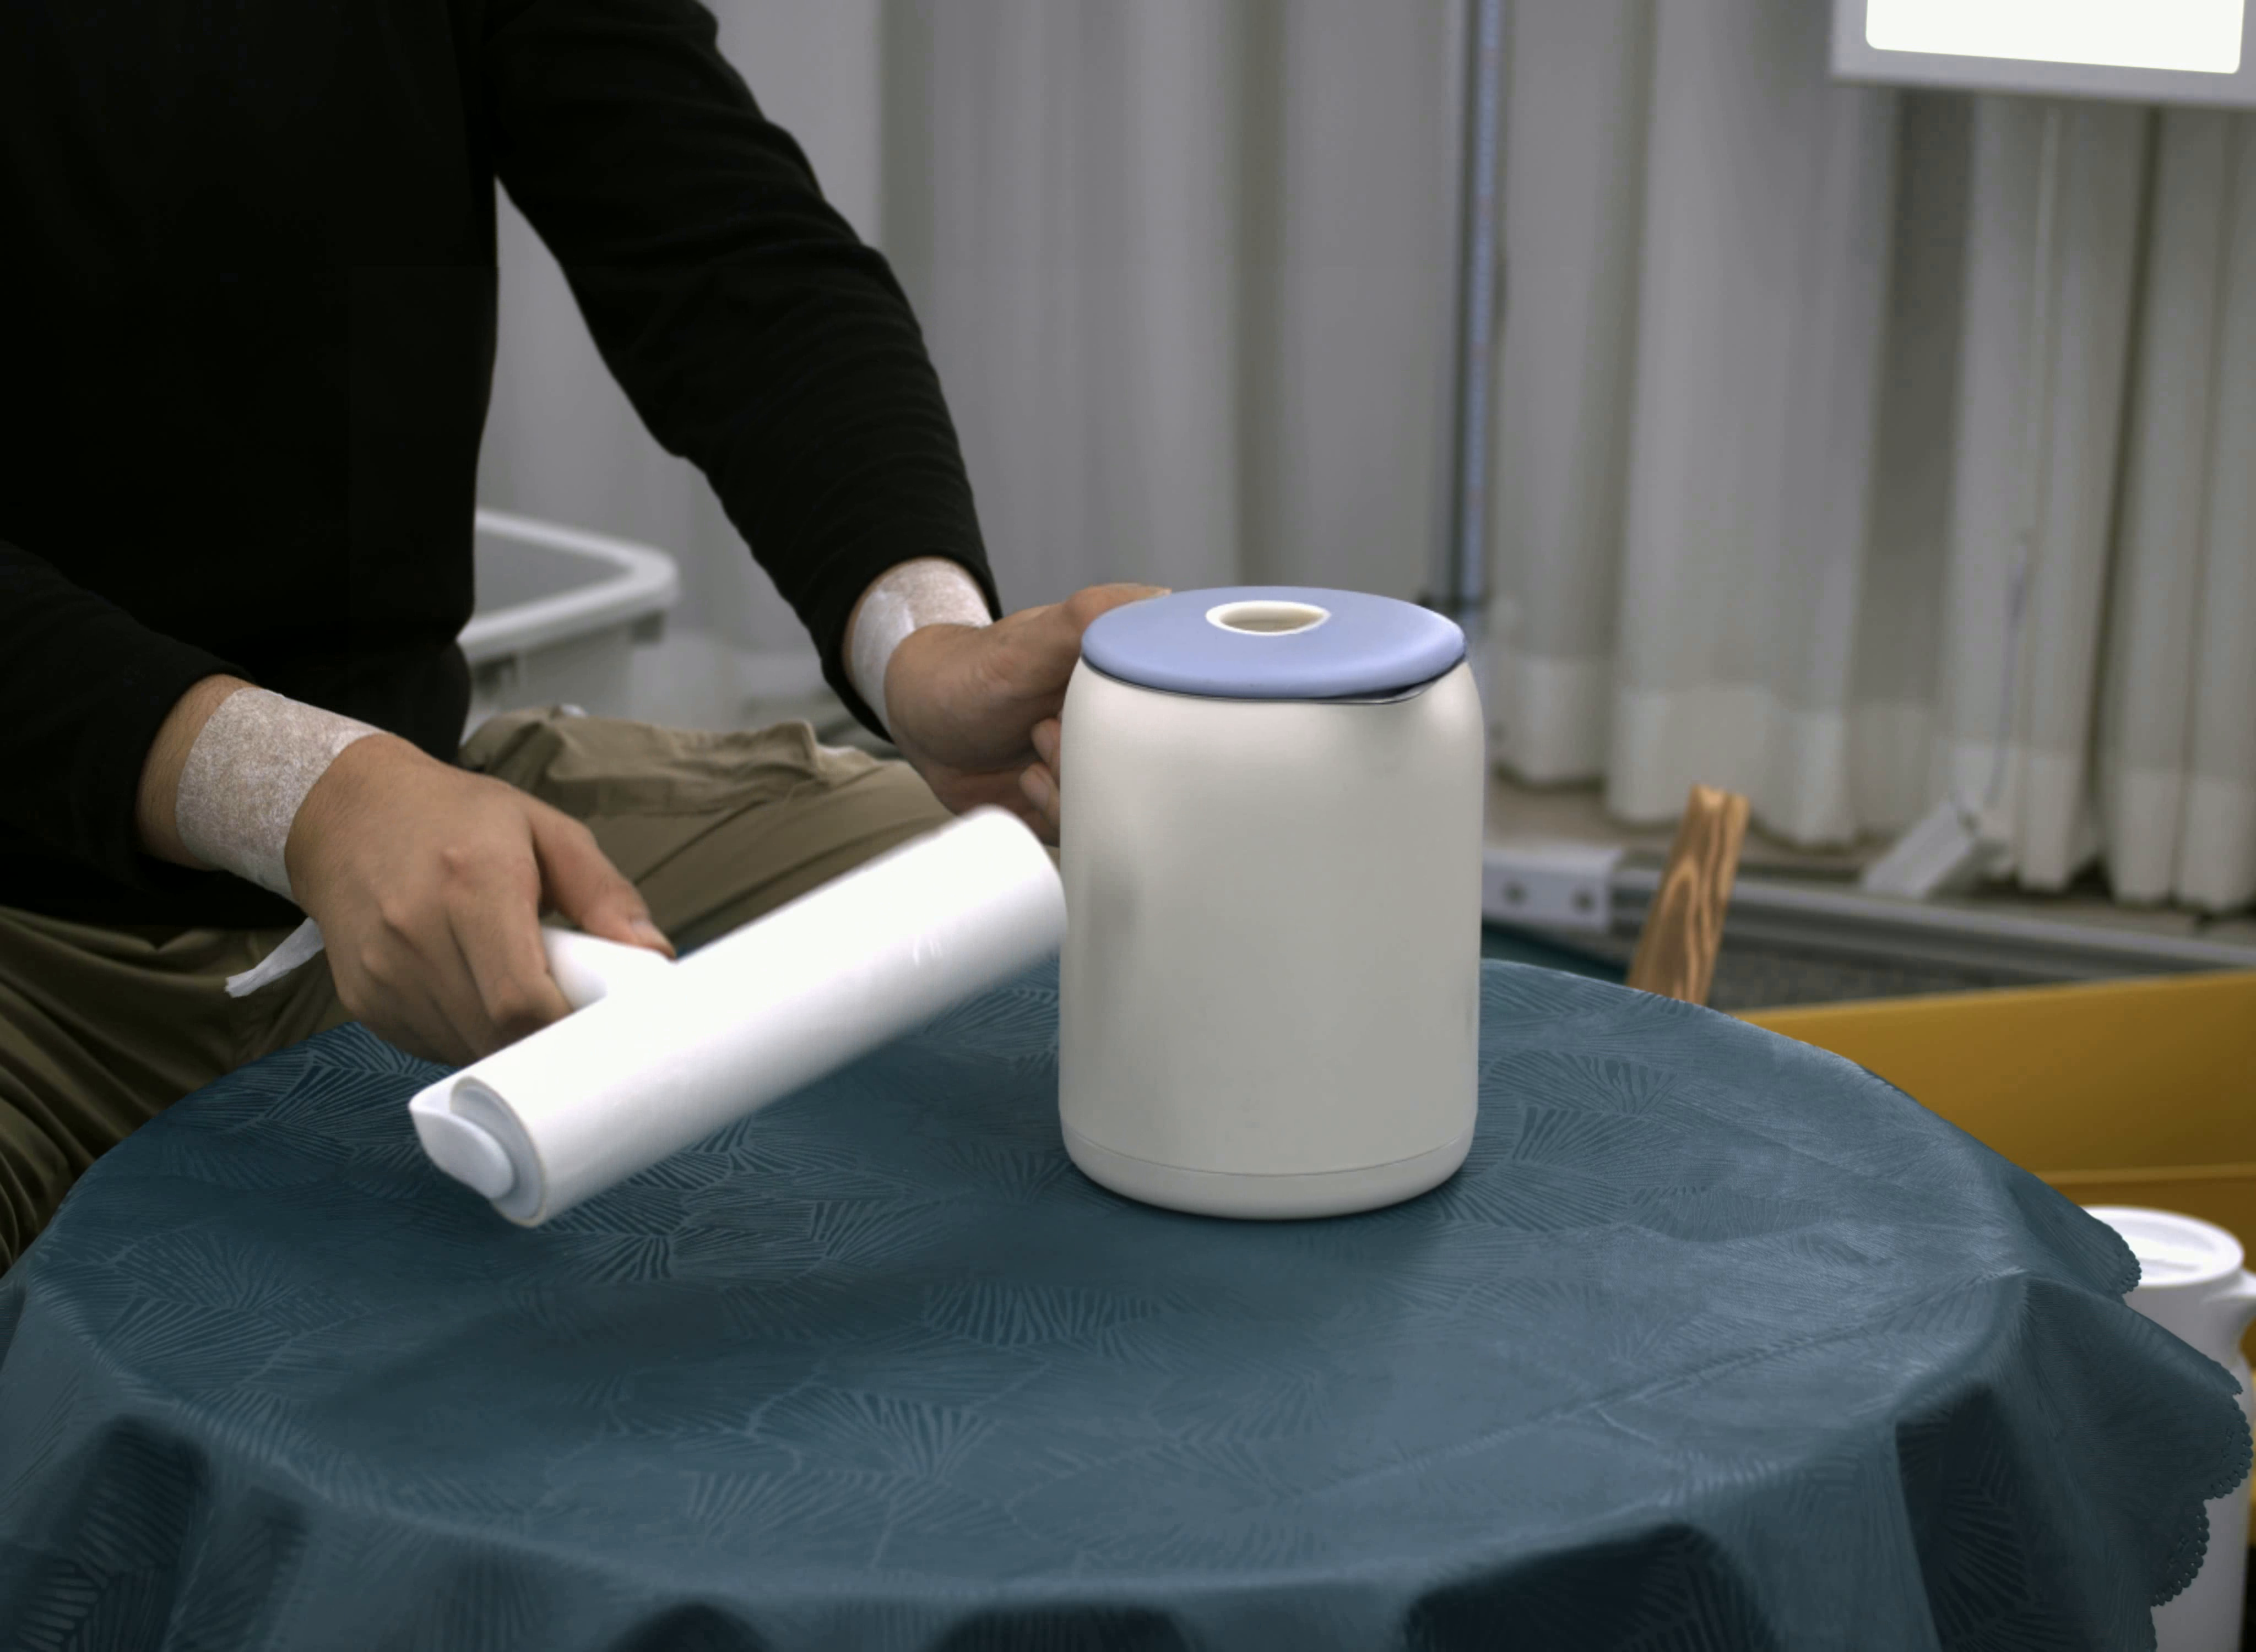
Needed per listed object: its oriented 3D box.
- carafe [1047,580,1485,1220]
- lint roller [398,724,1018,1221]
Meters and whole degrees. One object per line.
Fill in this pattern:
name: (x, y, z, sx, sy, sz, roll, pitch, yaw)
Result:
carafe: (0.031, 0.016, 1.646, 0.133, 0.184, 0.188, -9, 16, -32)
lint roller: (-0.159, 0.047, 1.567, 0.203, 0.049, 0.223, -38, 16, -30)
